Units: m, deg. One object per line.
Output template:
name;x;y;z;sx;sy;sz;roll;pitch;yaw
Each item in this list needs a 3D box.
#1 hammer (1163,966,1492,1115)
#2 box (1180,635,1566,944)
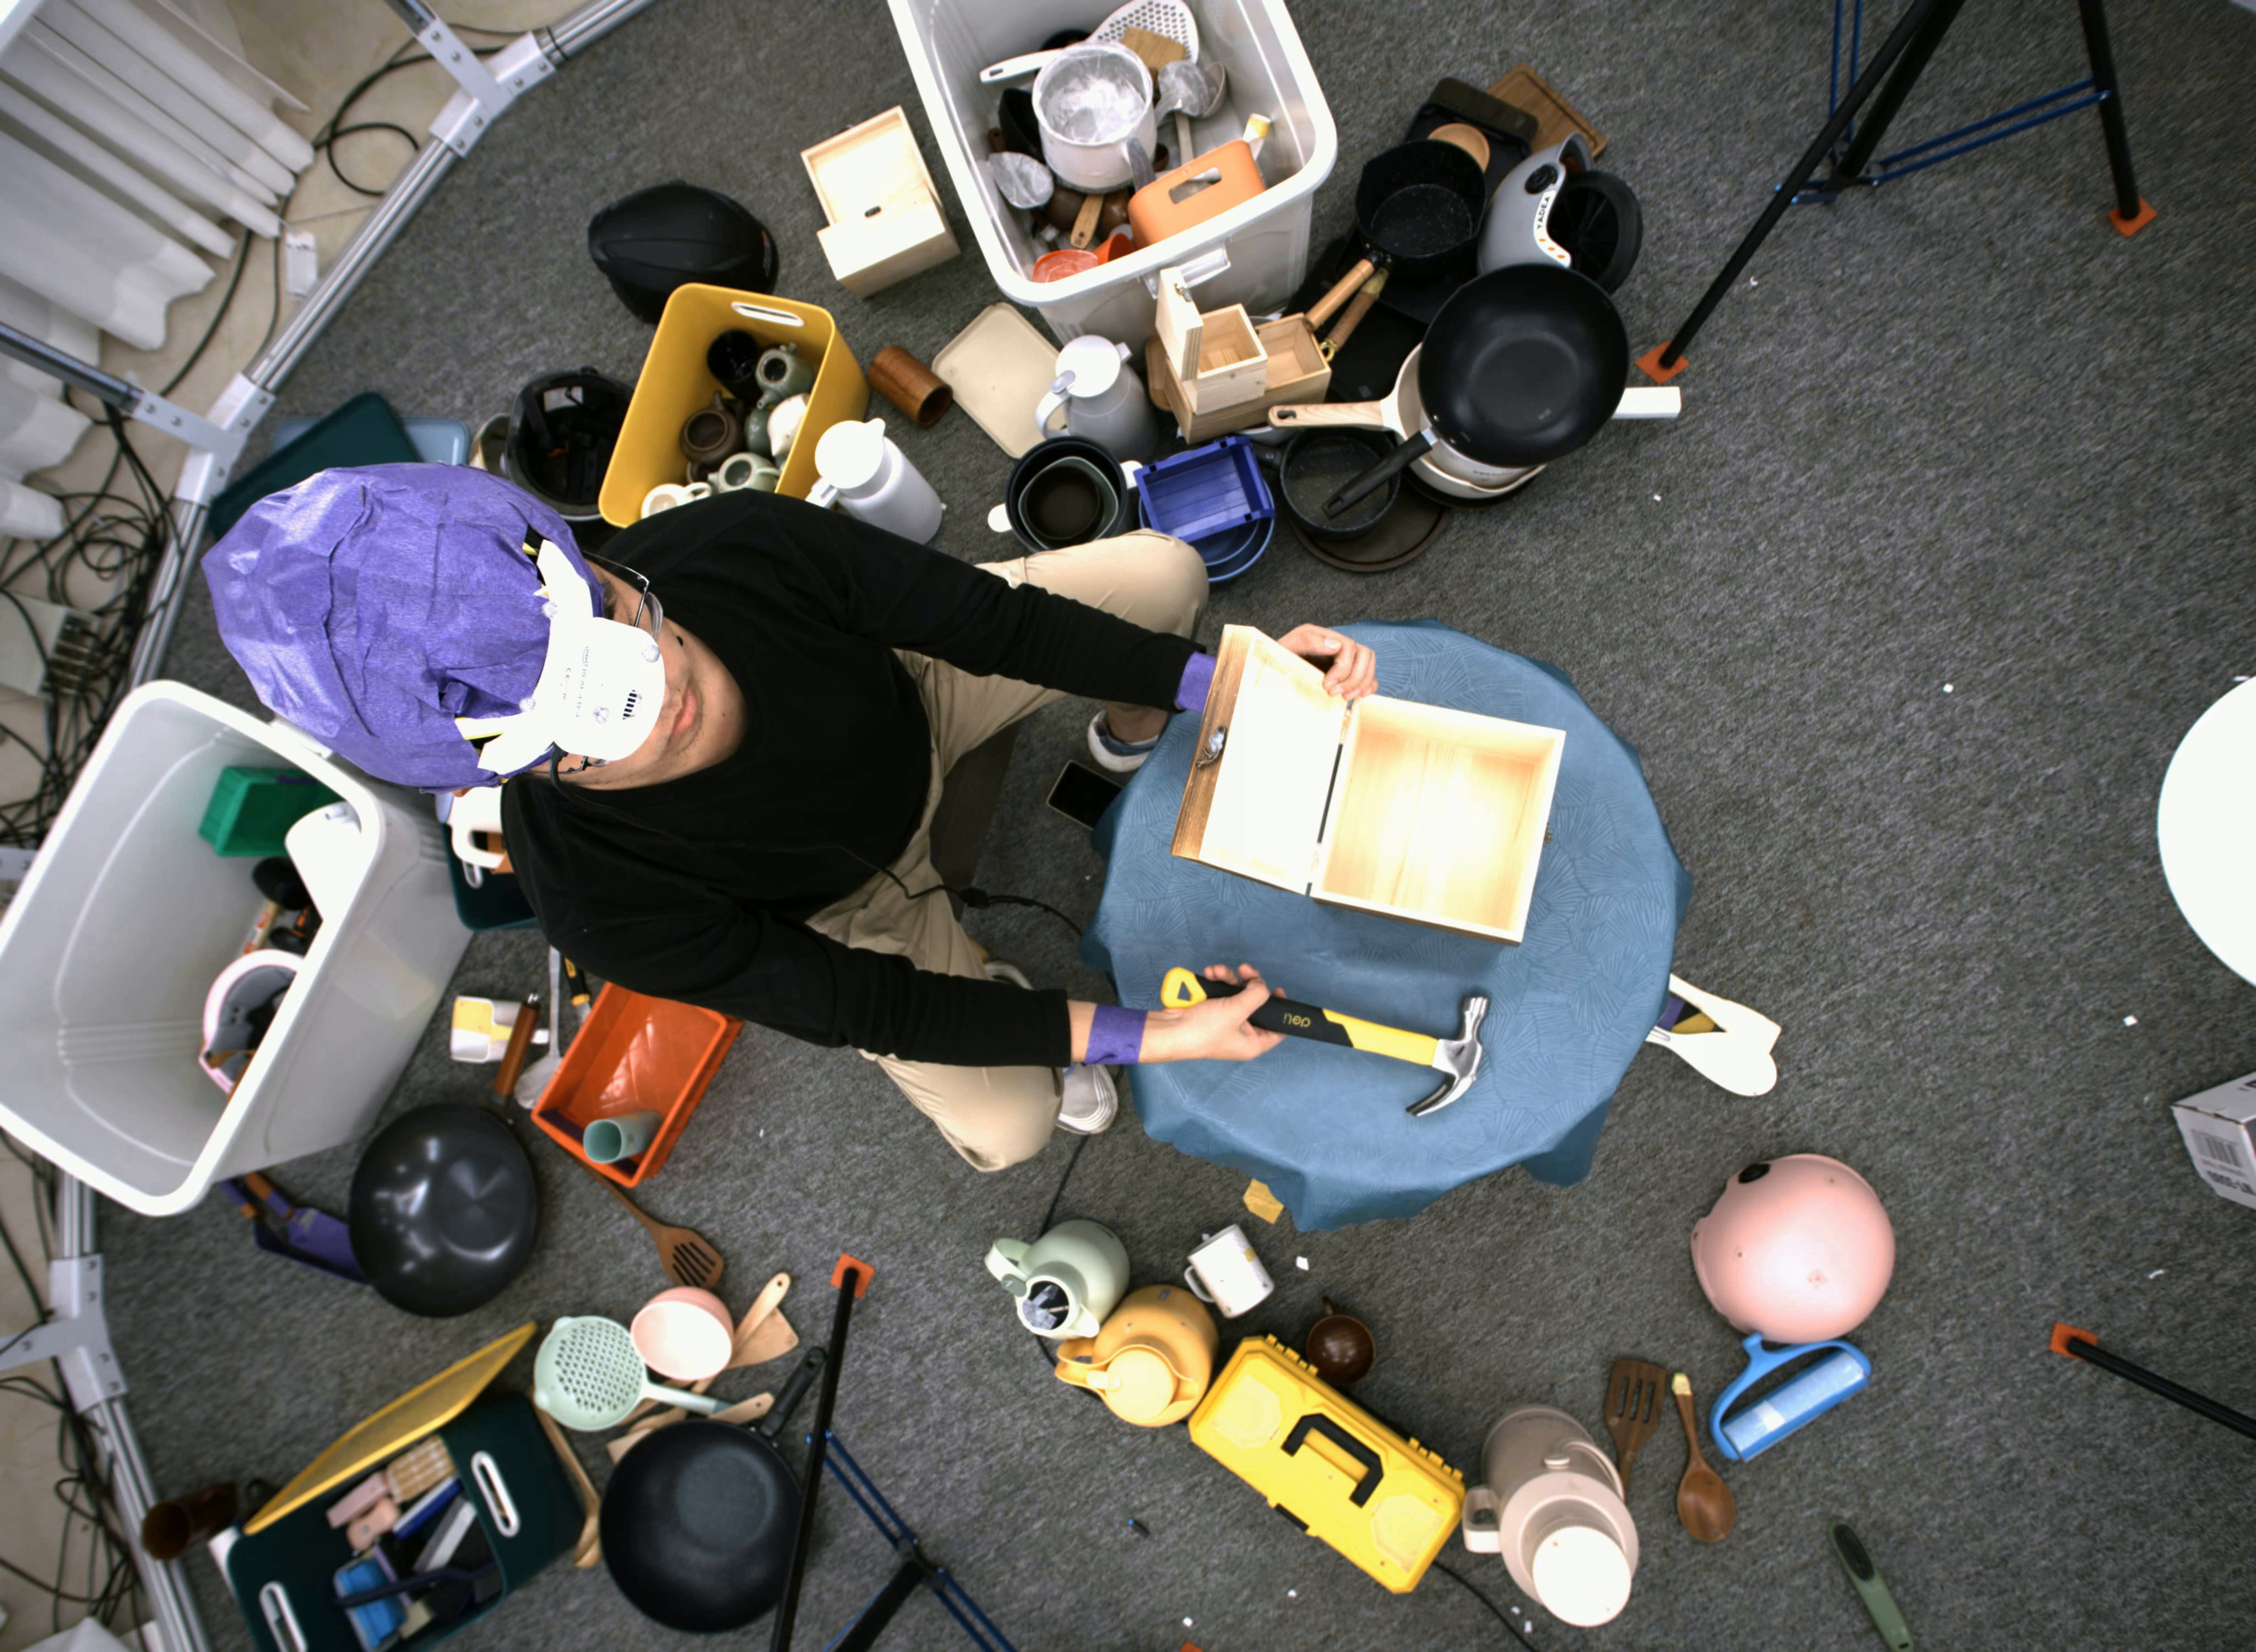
hammer;0.199;0.199;1.399;0.339;0.032;0.131;15;89;-8
box;0.237;-0.022;1.291;0.322;0.375;0.208;12;88;12
